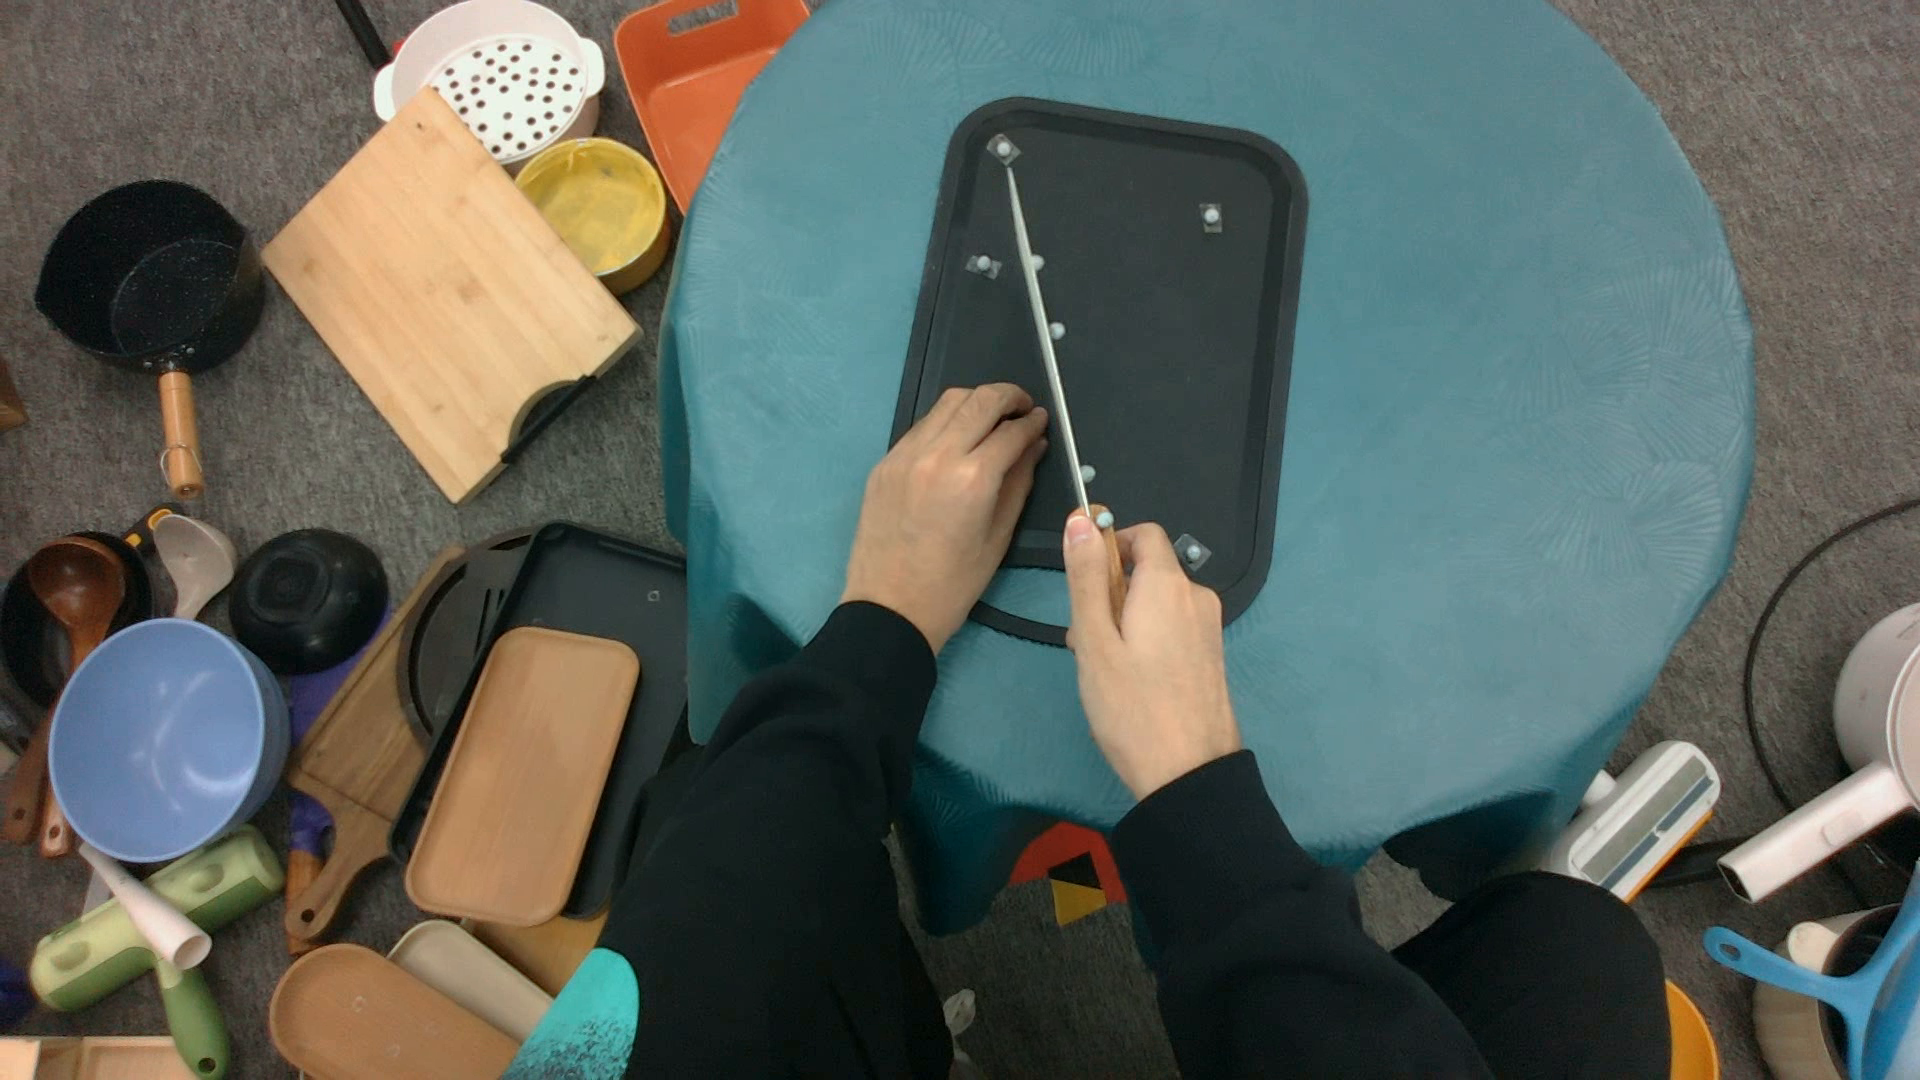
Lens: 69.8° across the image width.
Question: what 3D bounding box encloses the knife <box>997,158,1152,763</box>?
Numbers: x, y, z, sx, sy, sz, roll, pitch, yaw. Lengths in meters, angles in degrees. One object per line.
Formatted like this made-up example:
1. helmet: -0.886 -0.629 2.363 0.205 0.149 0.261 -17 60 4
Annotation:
1. knife: 0.051 -0.038 0.672 0.021 0.093 0.306 -12 72 4

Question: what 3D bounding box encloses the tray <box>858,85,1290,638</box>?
1. tray: 0.067 -0.105 0.752 0.211 0.010 0.326 10 71 1
